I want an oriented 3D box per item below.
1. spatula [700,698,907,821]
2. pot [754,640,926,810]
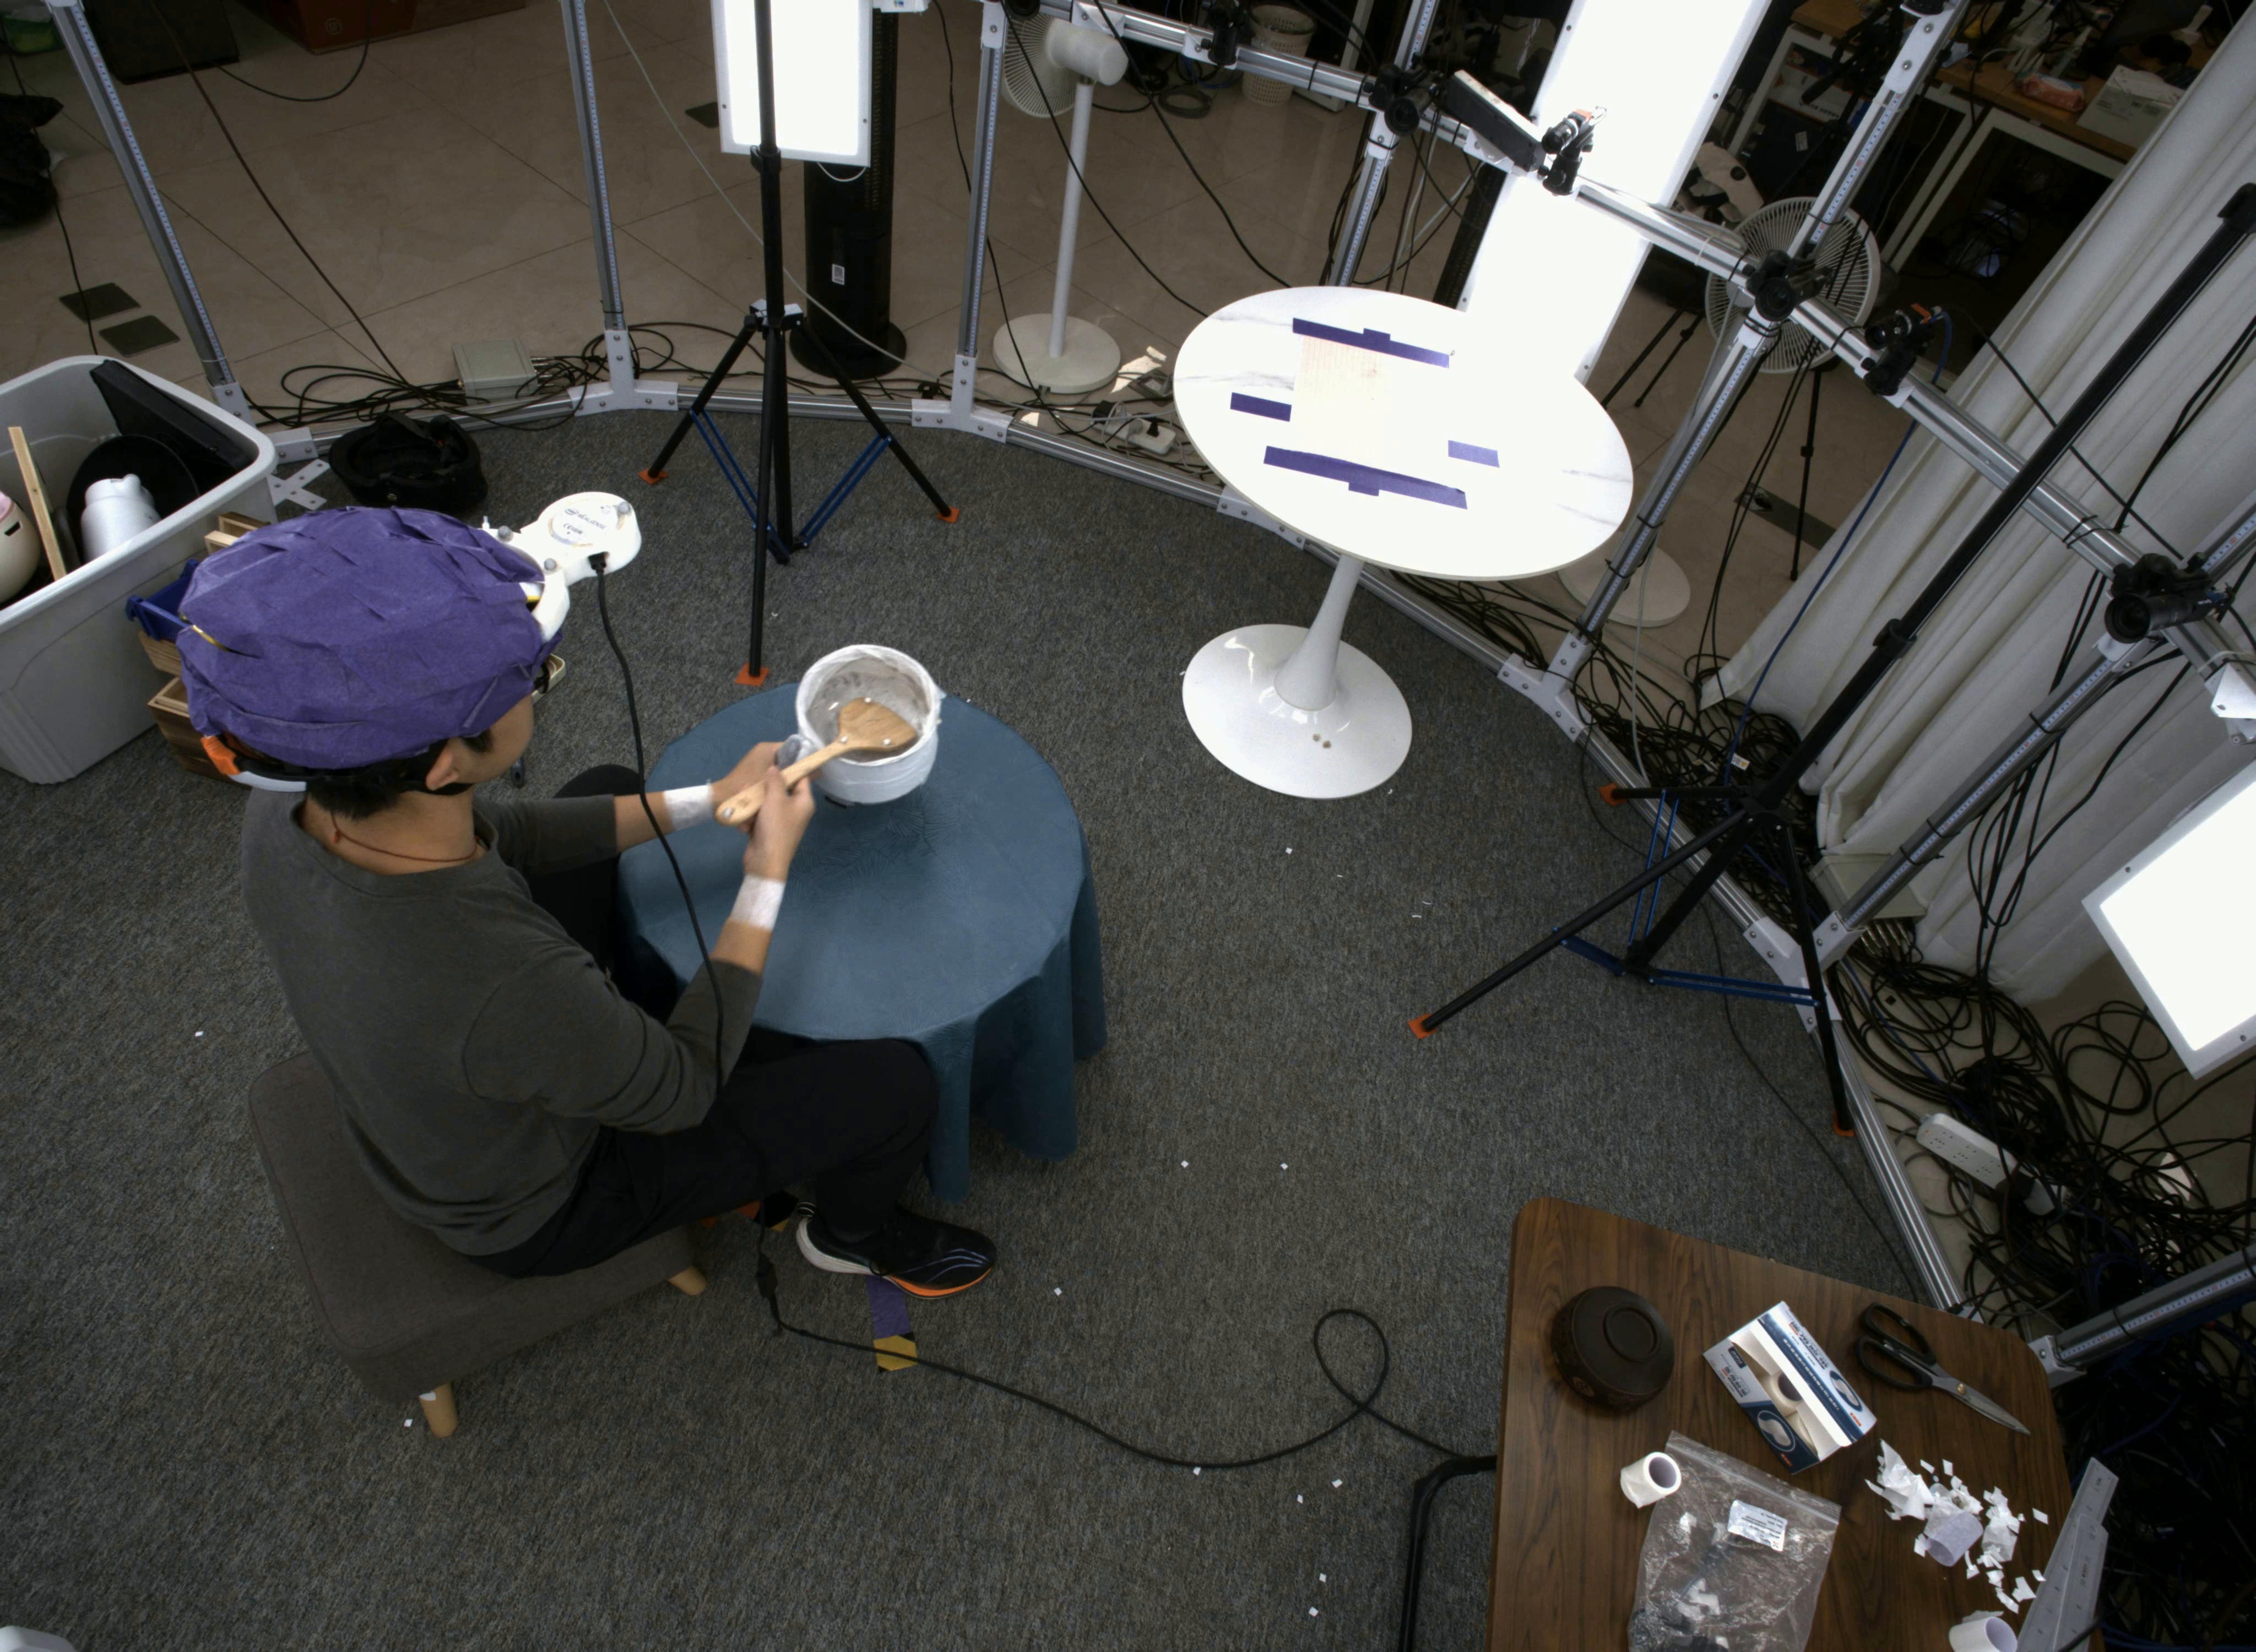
[{"bbox_3d":[-0.382,-0.078,1.527,0.095,0.019,0.389,32,26,4],"label":"spatula"},{"bbox_3d":[-0.370,-0.112,1.651,0.234,0.138,0.176,-34,75,-26],"label":"pot"}]
